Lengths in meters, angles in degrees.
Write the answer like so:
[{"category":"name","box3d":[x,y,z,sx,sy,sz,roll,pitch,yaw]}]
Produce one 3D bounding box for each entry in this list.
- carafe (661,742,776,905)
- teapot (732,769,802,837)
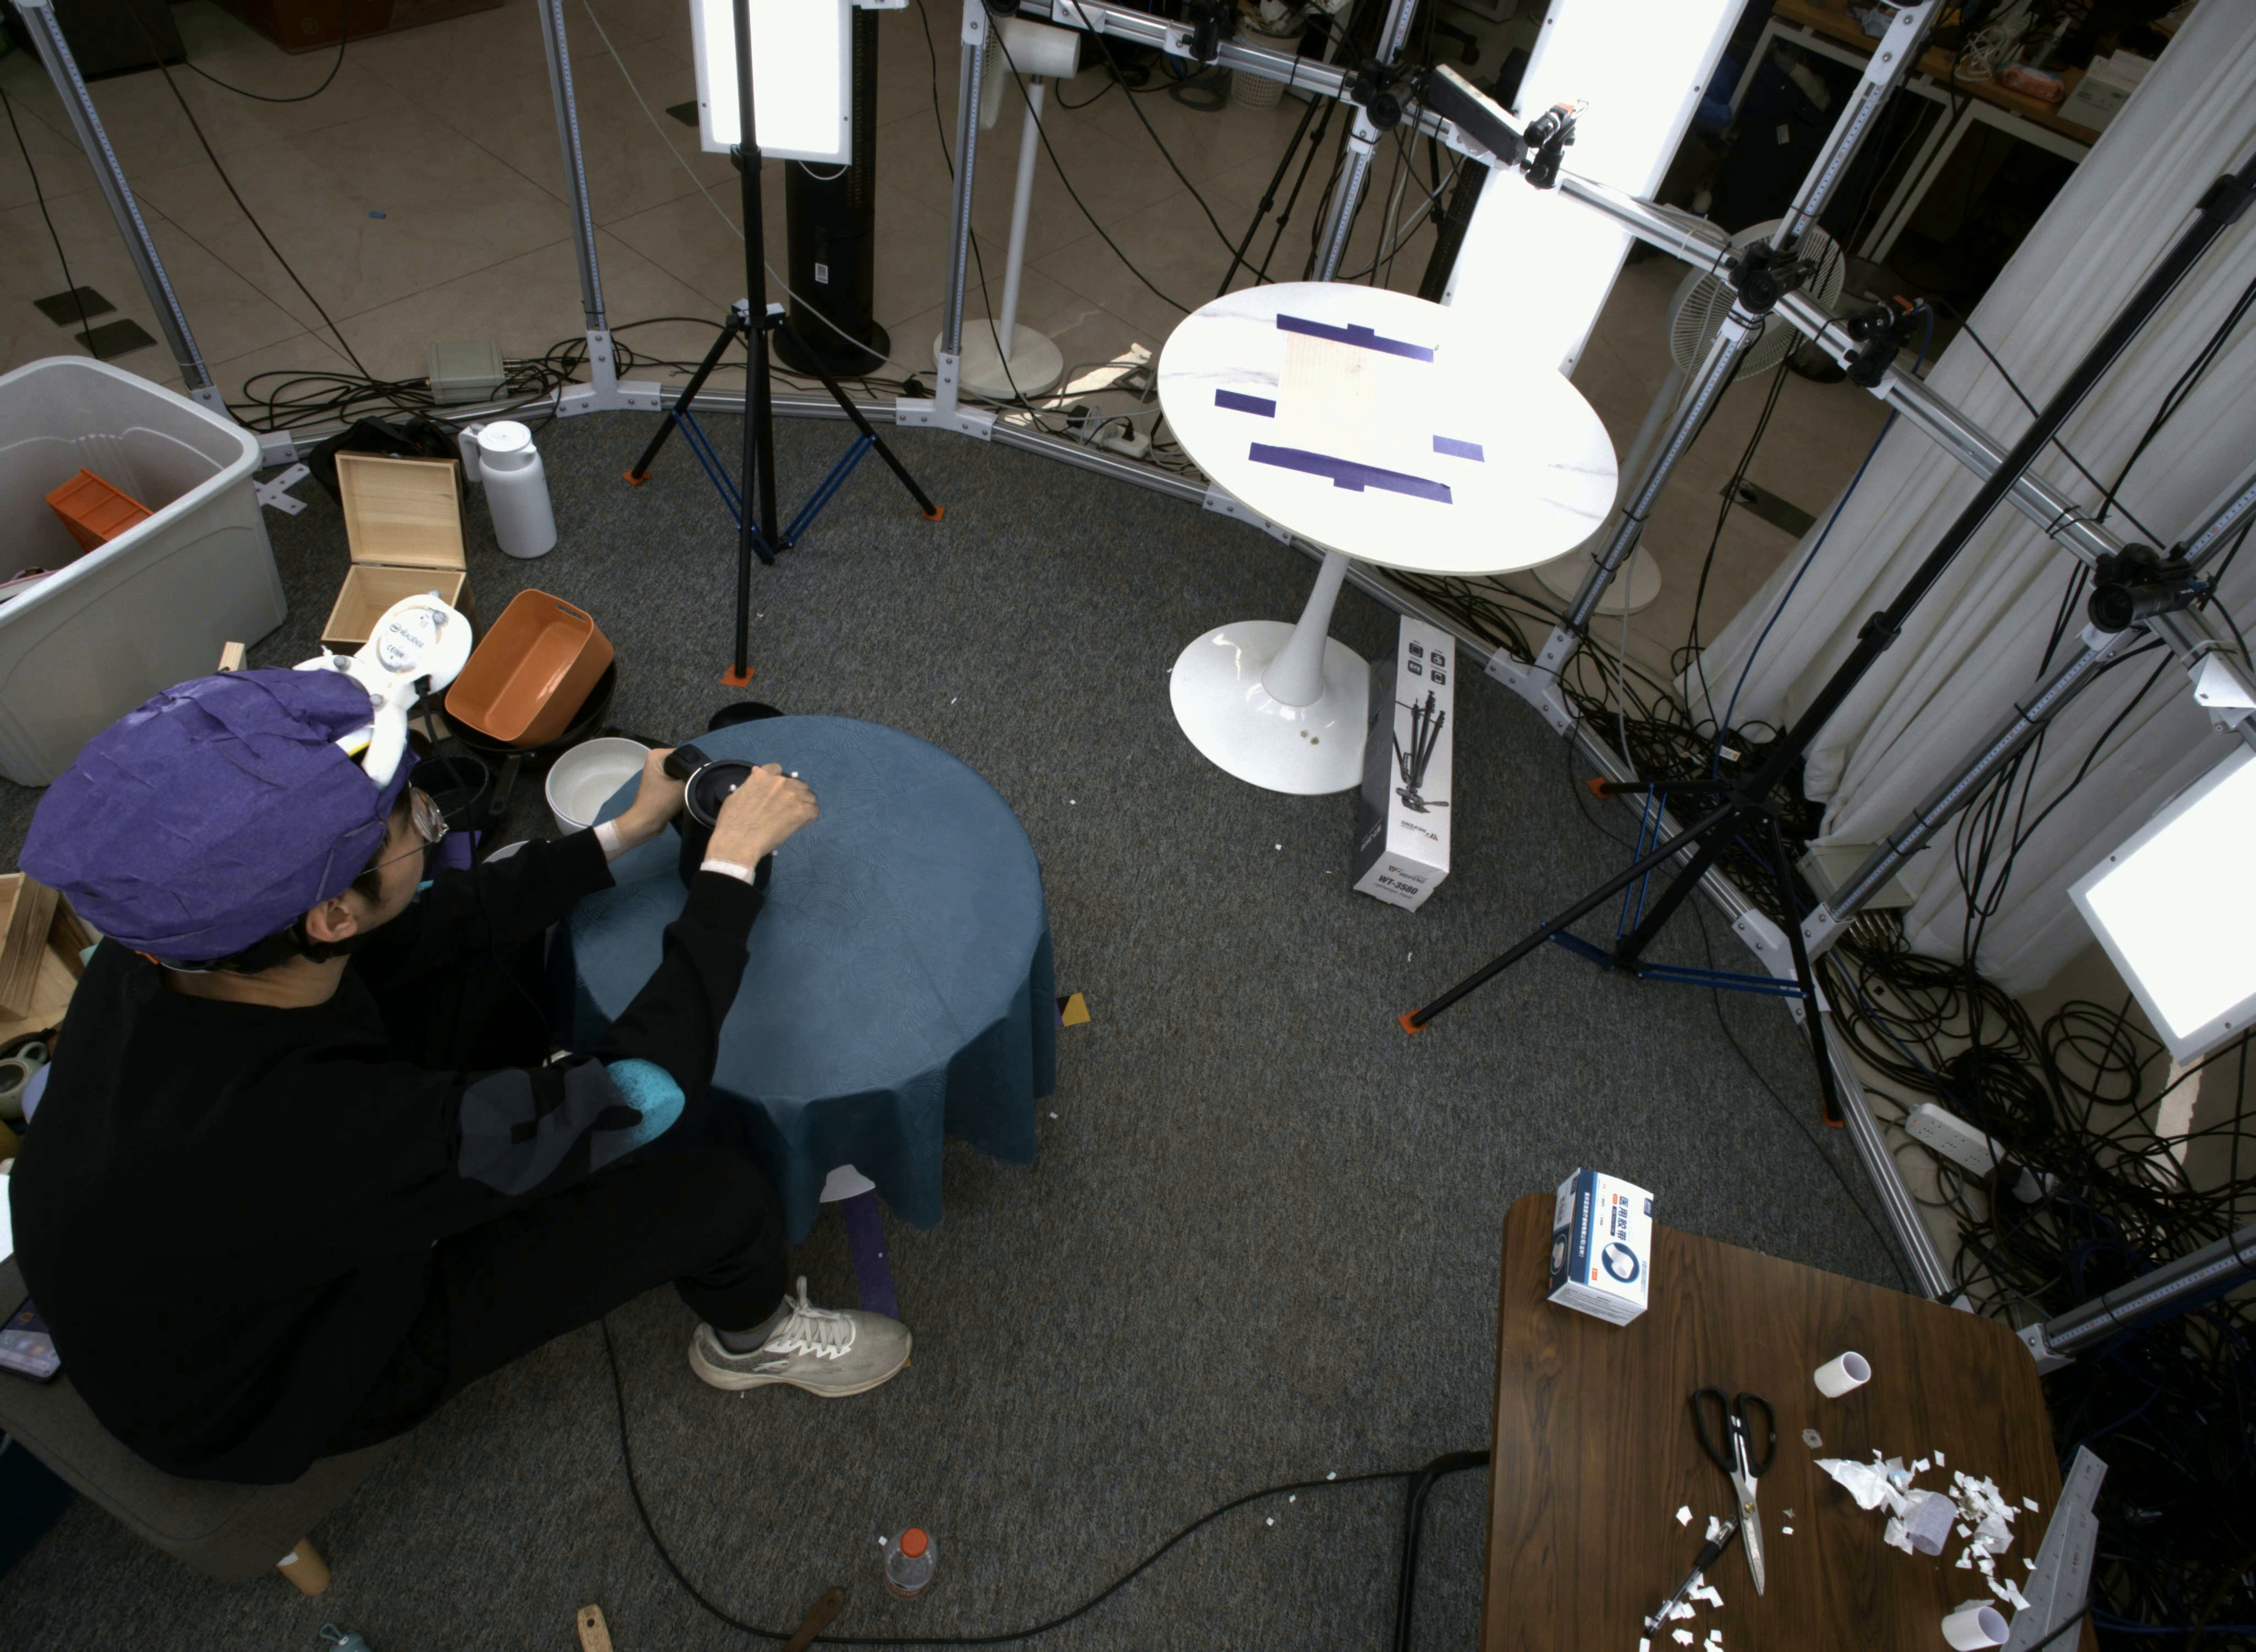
[{"category":"carafe","box3d":[-0.504,-0.011,1.577,0.170,0.175,0.114,40,53,8]},{"category":"teapot","box3d":[-0.404,-0.031,1.441,0.083,0.114,0.053,-42,90,-19]}]
